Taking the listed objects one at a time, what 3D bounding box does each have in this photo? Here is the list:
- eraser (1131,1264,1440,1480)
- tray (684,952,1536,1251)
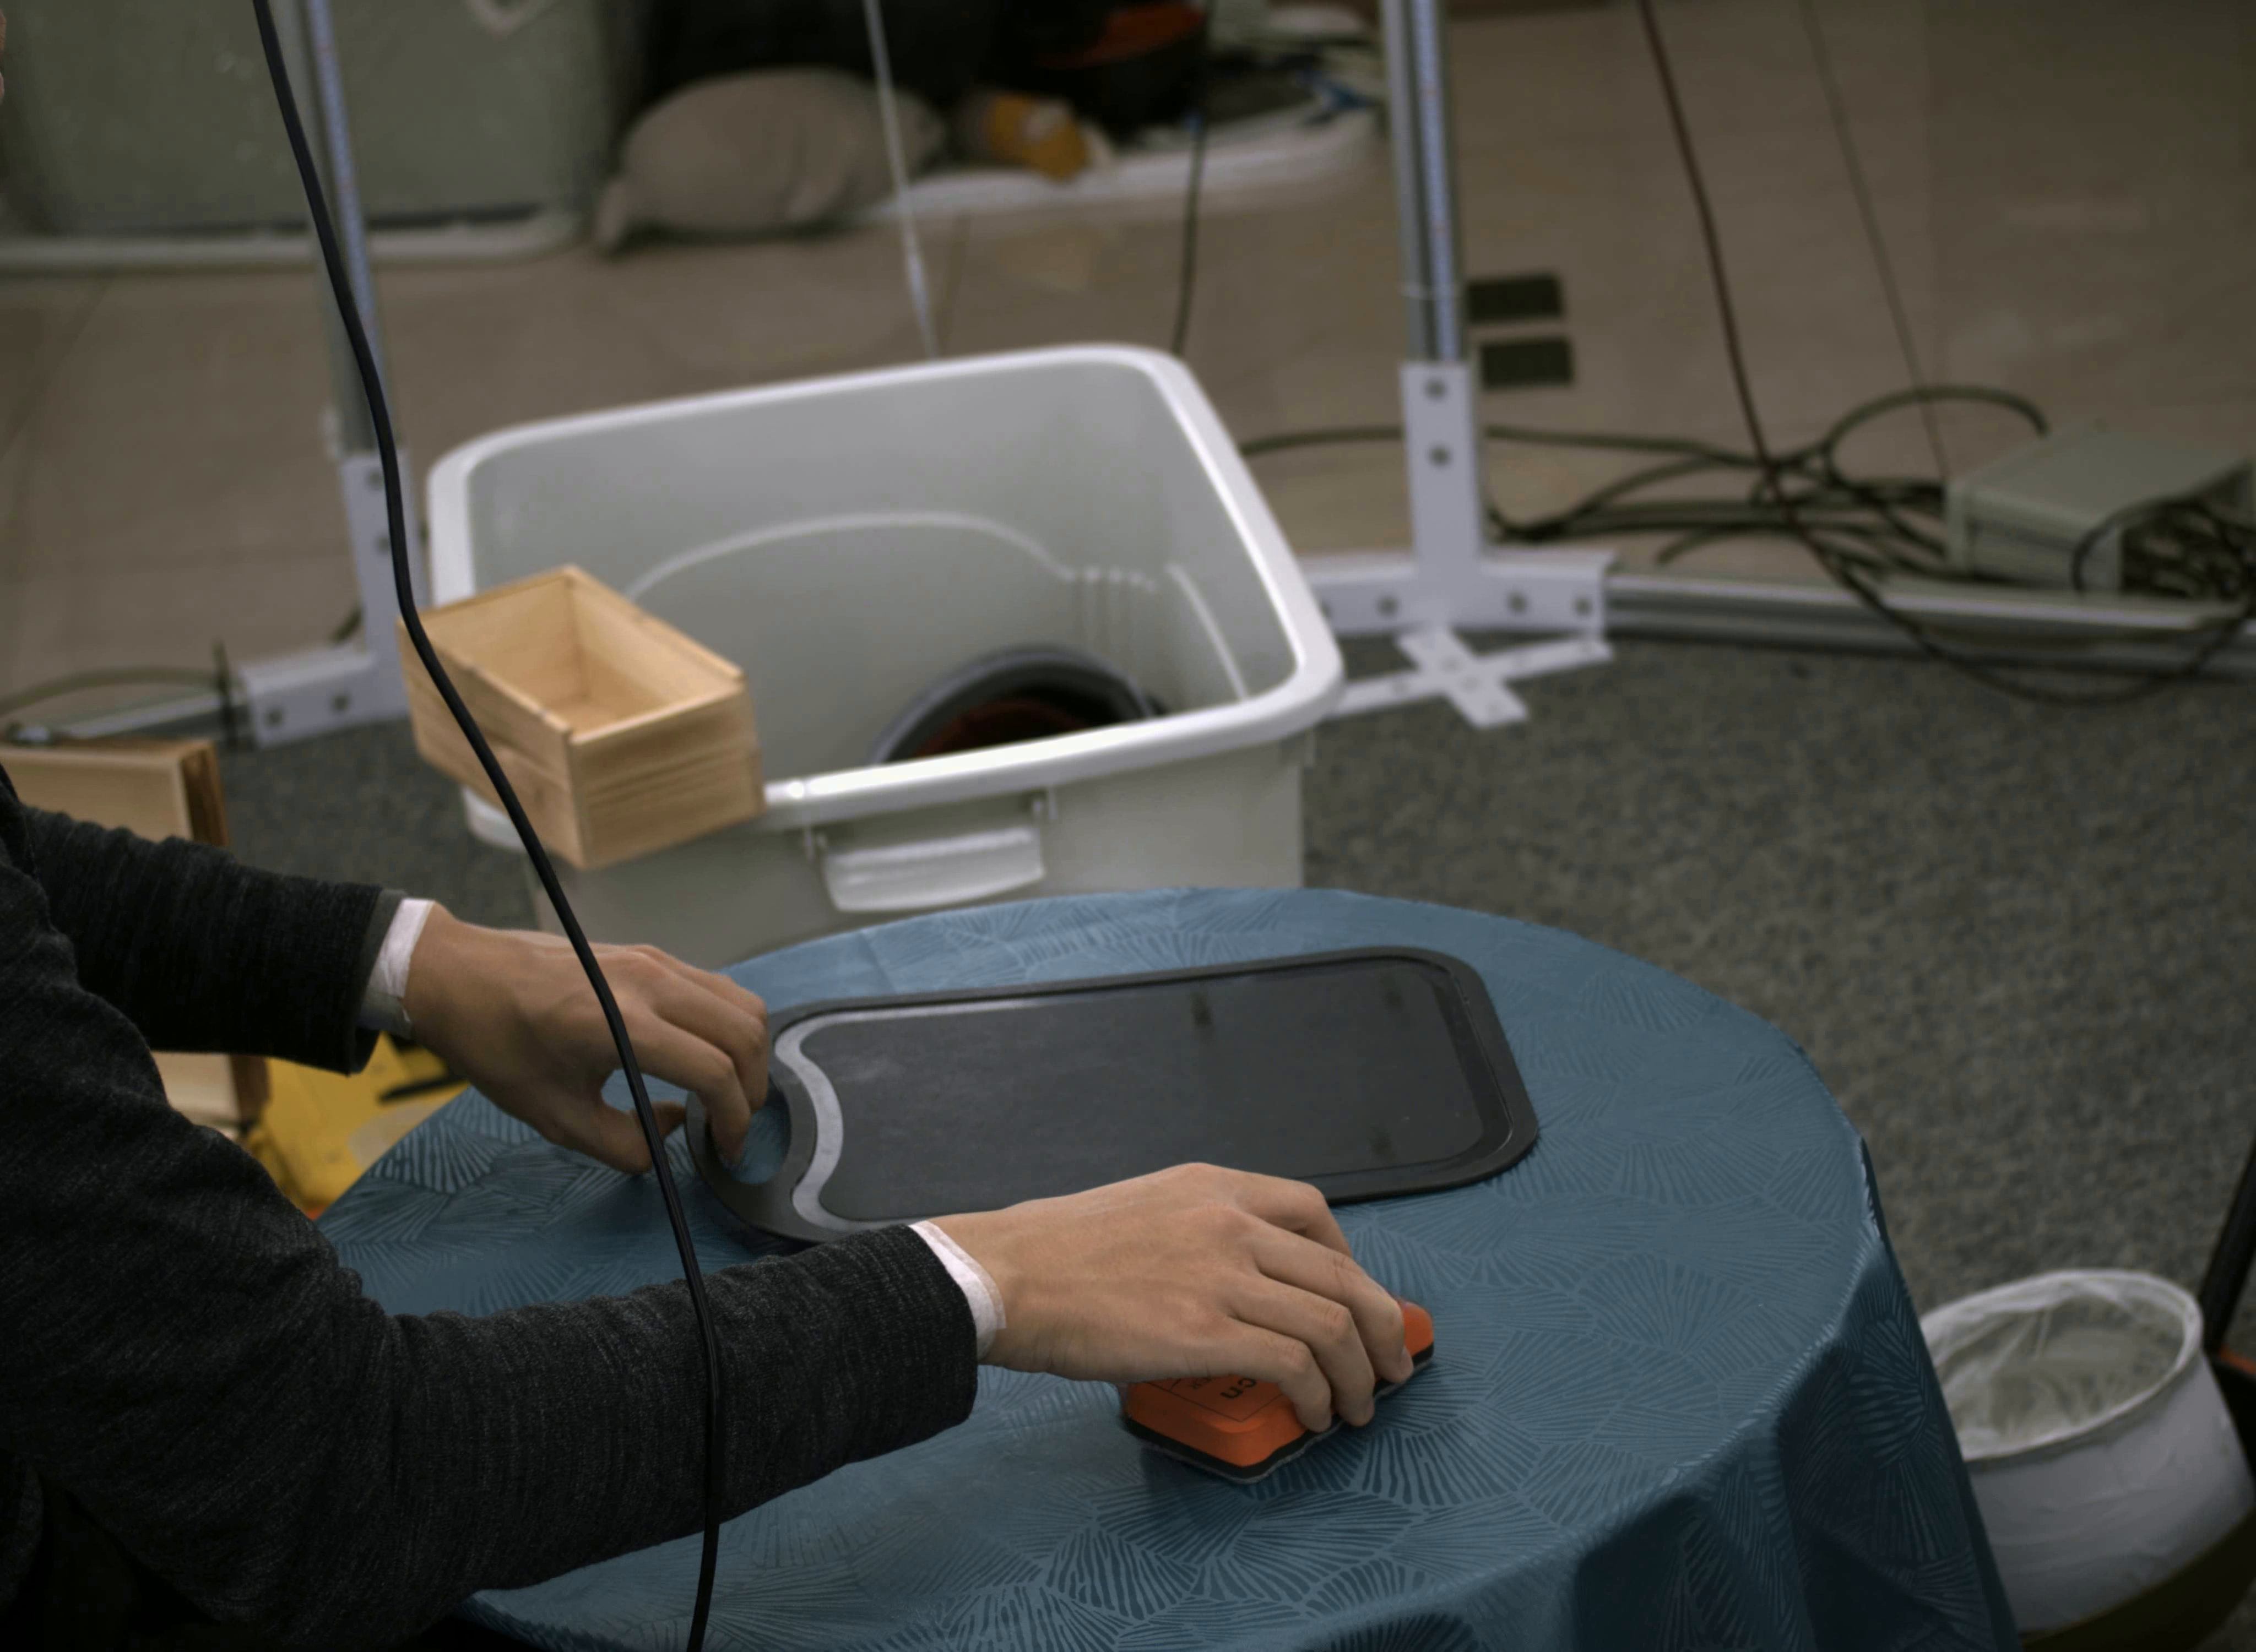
[{"bbox_3d":[0.055,0.191,1.991,0.058,0.023,0.107,18,34,42],"label":"eraser"},{"bbox_3d":[-0.011,0.105,2.206,0.325,0.010,0.208,-6,24,-3],"label":"tray"}]
